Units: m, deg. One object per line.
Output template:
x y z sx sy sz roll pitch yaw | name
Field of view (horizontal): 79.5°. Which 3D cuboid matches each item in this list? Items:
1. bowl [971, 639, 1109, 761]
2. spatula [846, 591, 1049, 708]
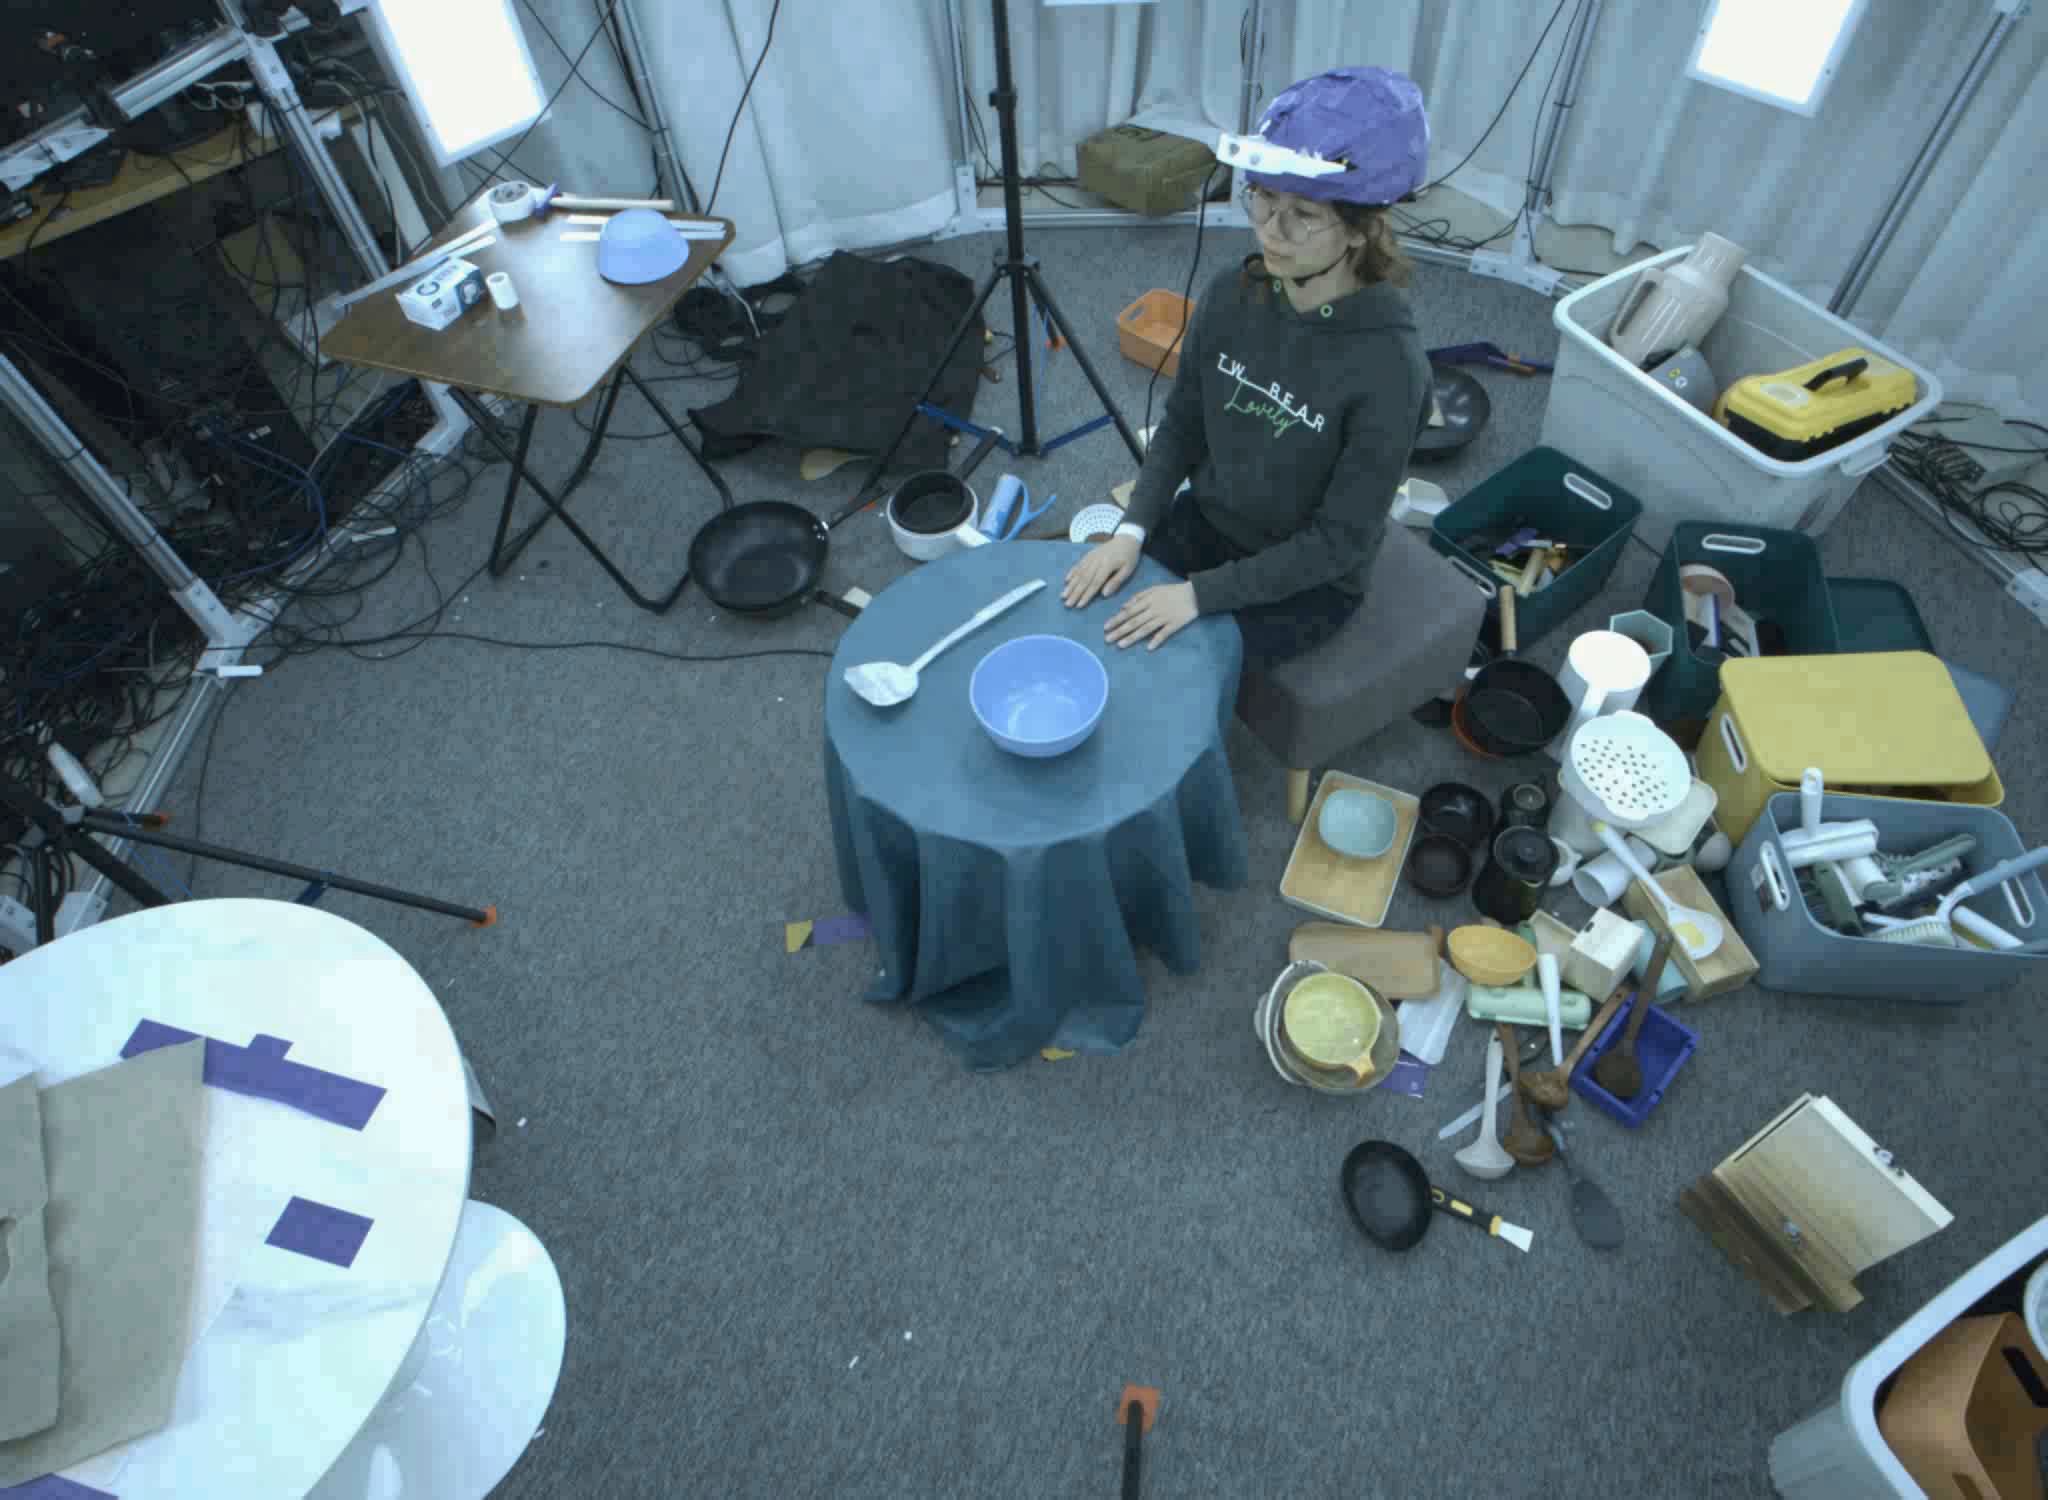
0.026 -0.058 1.779 0.196 0.096 0.194 -1 54 3 | bowl
-0.108 -0.170 1.896 0.367 0.045 0.097 -36 59 -21 | spatula
